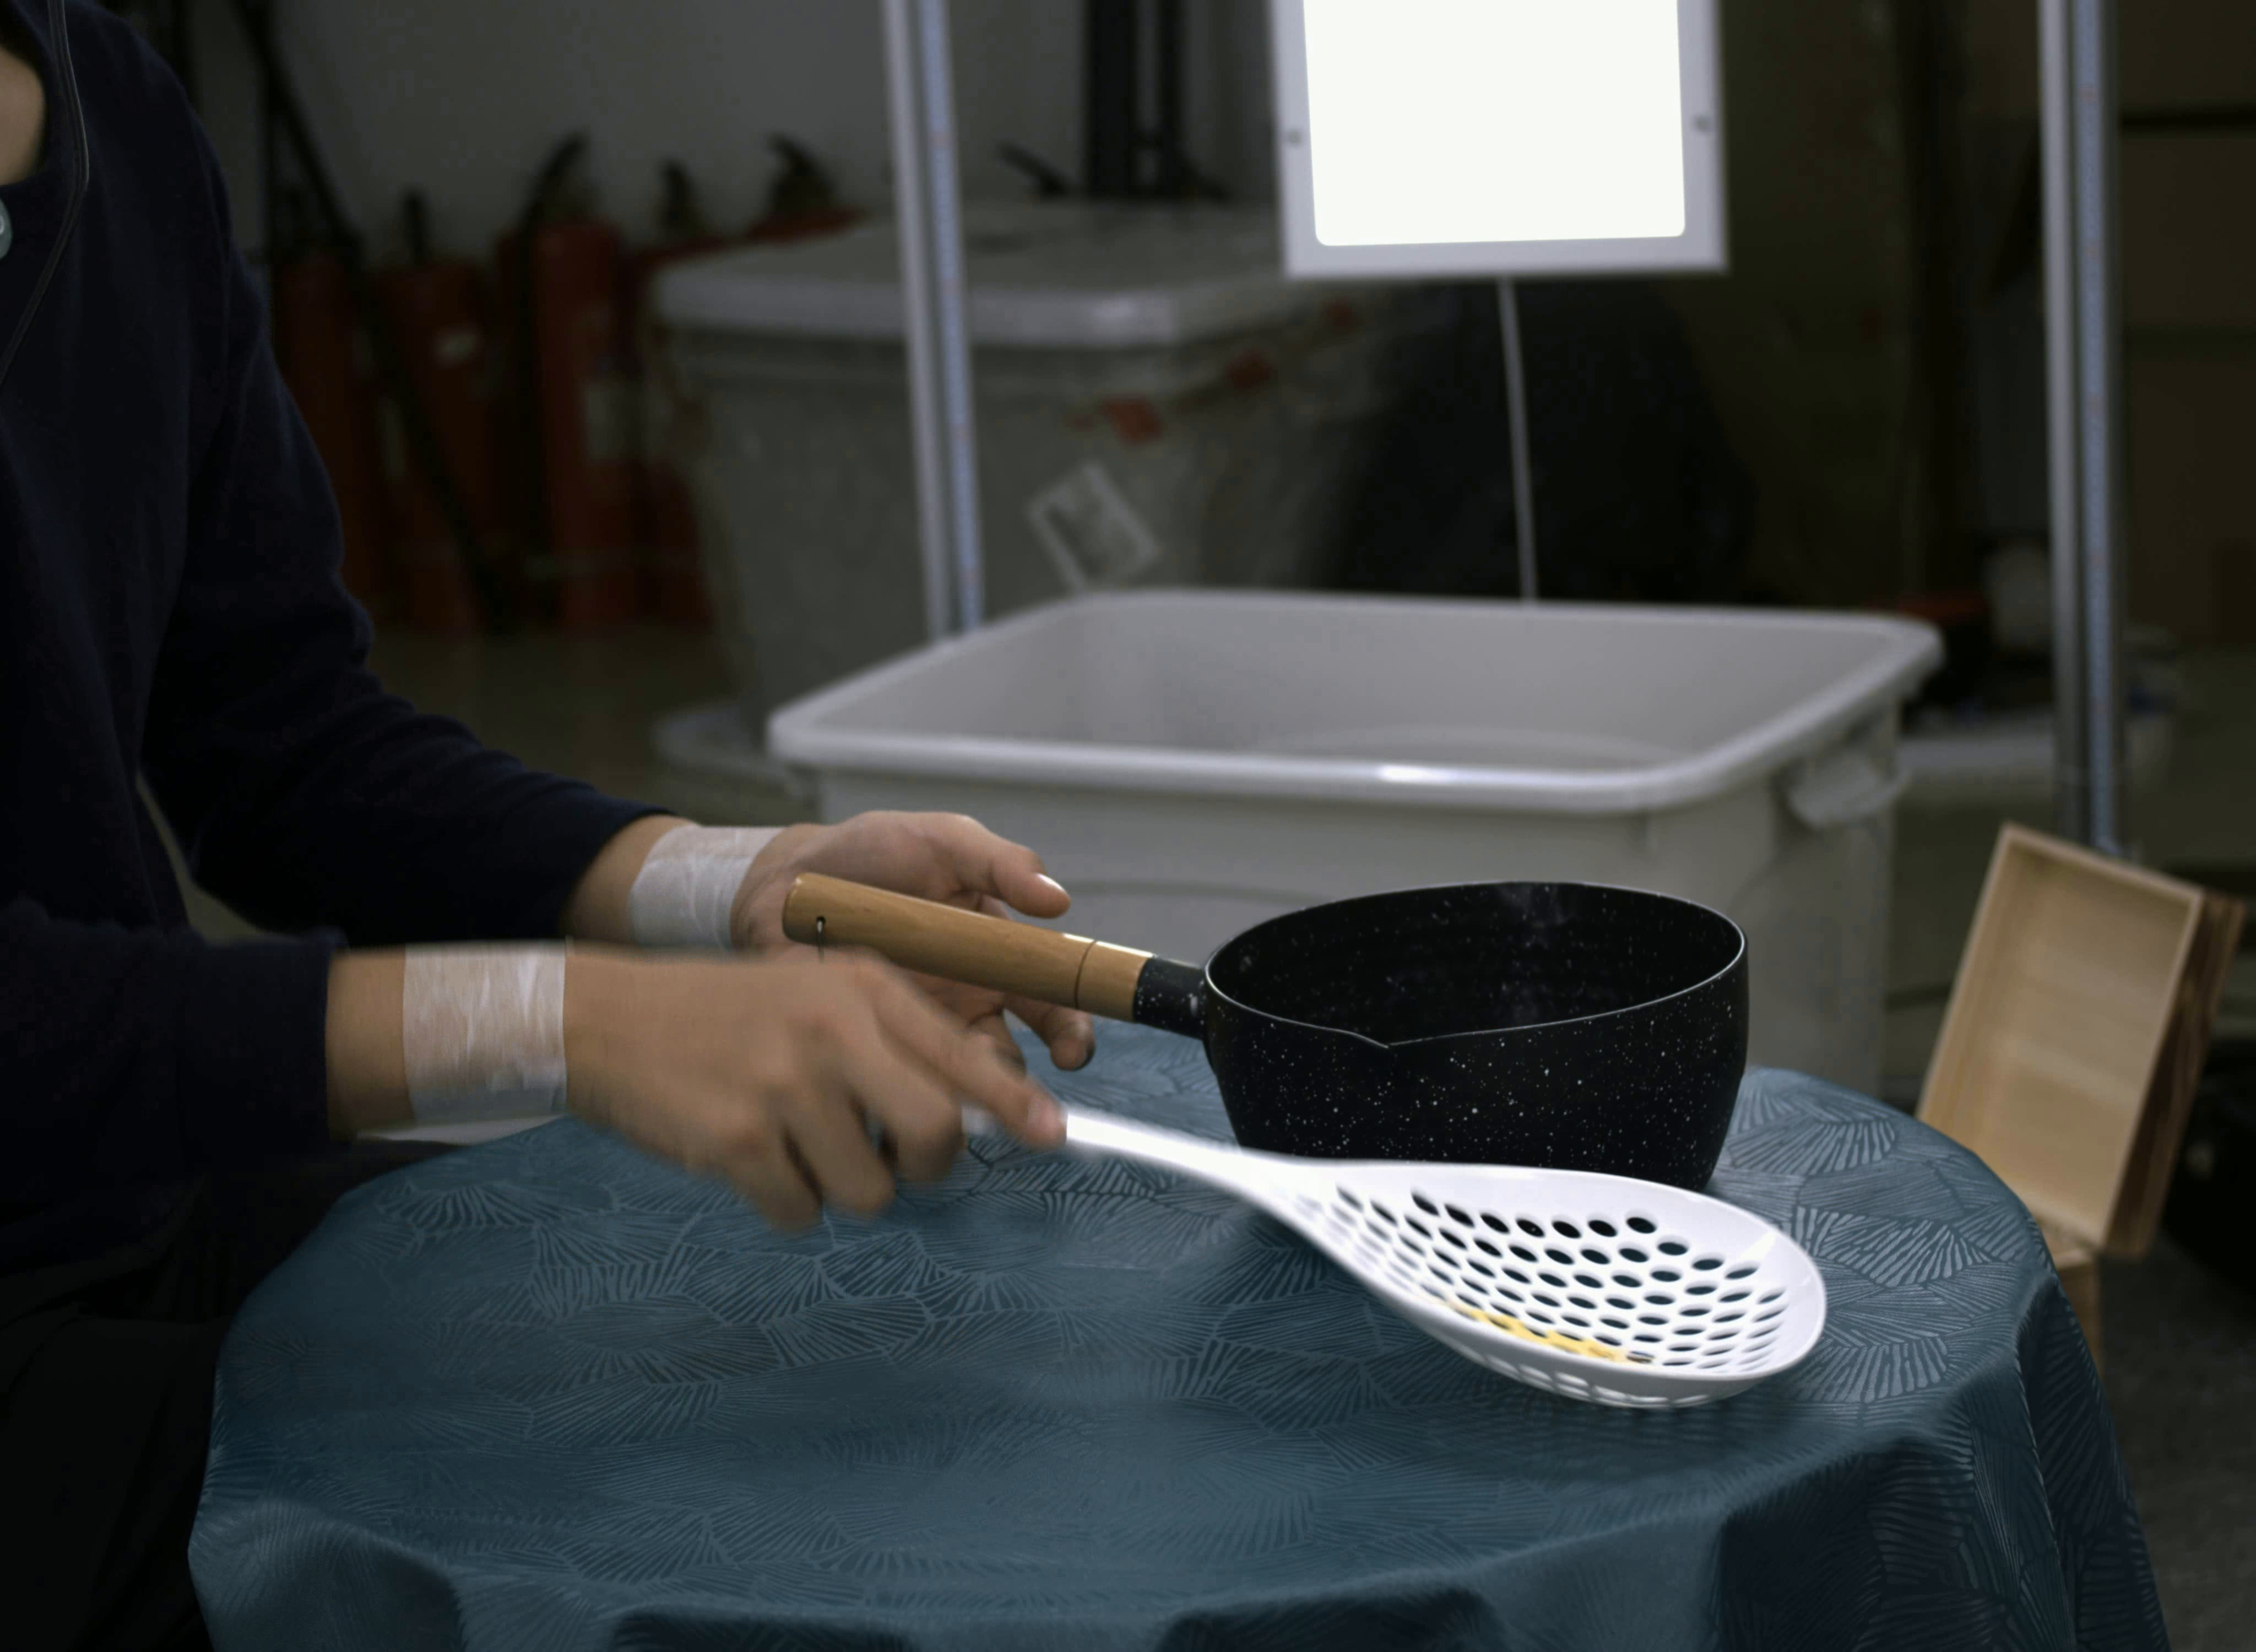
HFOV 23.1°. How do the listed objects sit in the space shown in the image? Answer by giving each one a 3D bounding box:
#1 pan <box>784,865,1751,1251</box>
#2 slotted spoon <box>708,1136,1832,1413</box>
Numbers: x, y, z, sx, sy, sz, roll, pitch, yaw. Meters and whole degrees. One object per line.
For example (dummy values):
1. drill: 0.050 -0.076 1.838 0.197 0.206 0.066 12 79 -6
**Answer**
1. pan: 0.044 0.071 1.880 0.347 0.108 0.204 1 16 19
2. slotted spoon: 0.042 0.124 1.685 0.350 0.051 0.135 14 24 11
